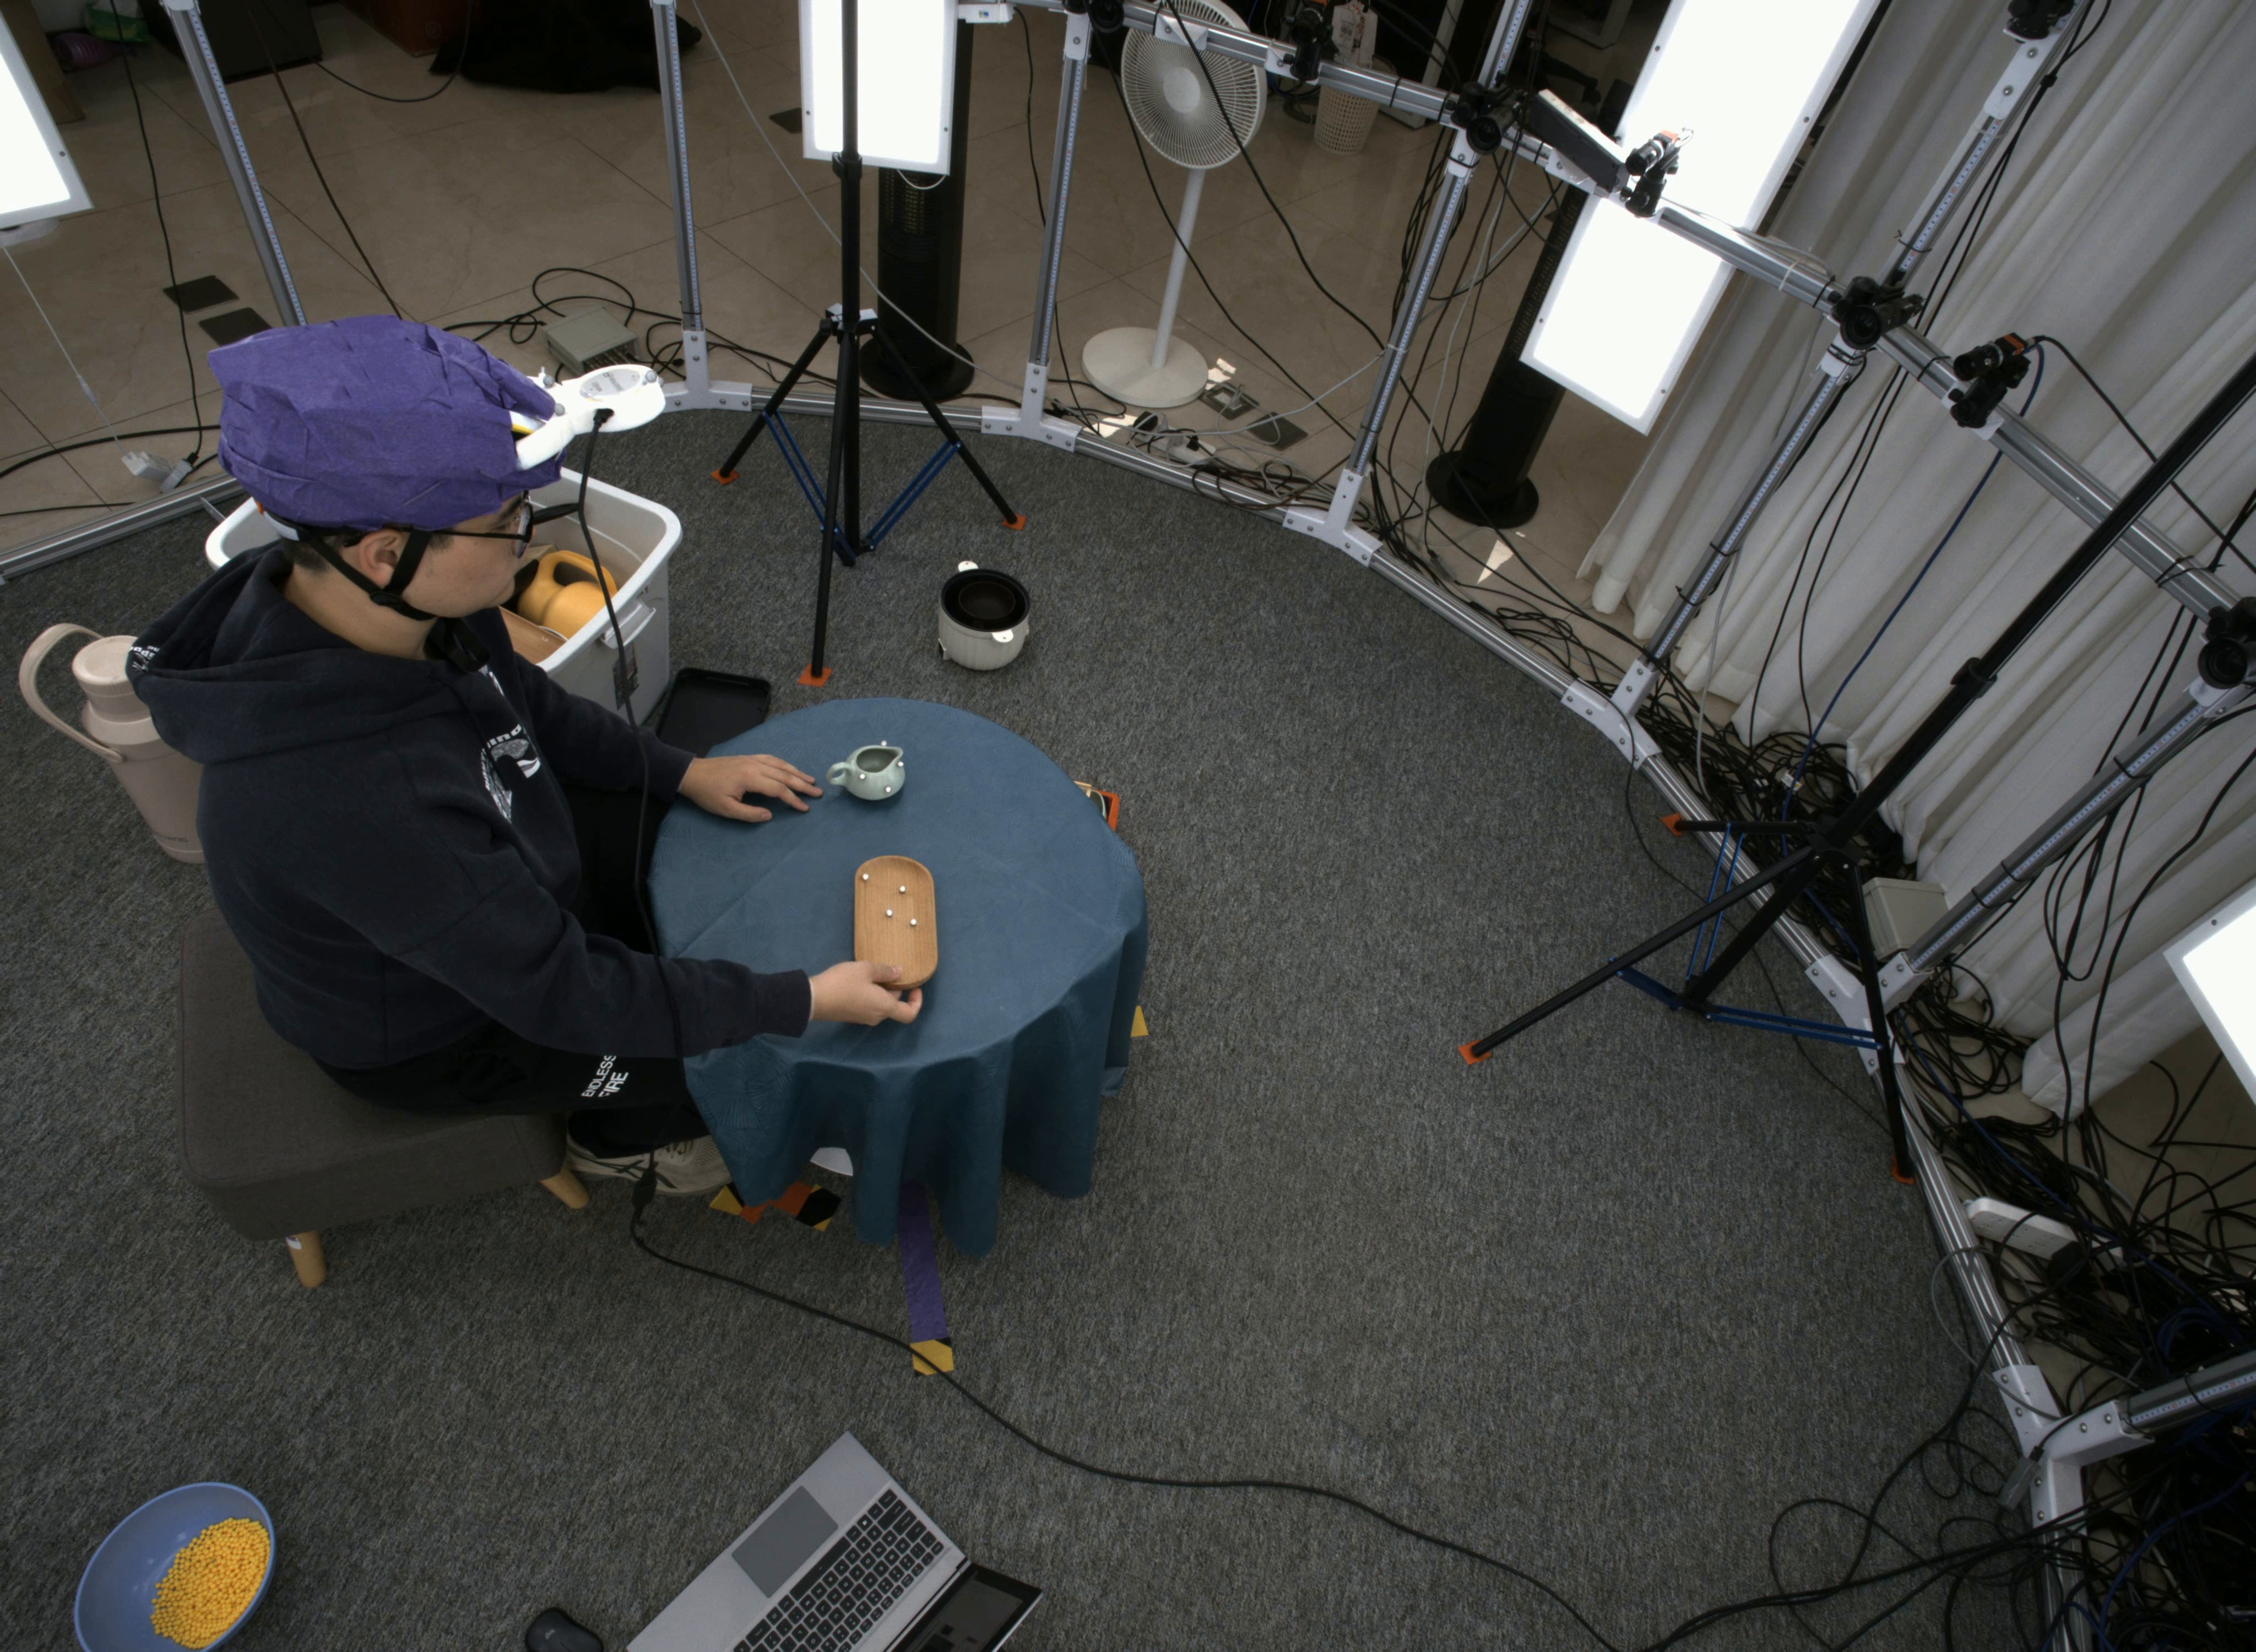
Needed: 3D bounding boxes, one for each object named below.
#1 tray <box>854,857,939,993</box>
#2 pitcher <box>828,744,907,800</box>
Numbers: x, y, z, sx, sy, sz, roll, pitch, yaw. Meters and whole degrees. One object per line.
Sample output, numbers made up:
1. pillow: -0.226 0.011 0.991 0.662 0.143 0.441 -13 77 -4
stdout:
1. tray: -0.290 0.119 1.624 0.102 0.021 0.225 -1 43 -12
2. pitcher: -0.354 -0.073 1.757 0.108 0.062 0.084 -20 59 -23
